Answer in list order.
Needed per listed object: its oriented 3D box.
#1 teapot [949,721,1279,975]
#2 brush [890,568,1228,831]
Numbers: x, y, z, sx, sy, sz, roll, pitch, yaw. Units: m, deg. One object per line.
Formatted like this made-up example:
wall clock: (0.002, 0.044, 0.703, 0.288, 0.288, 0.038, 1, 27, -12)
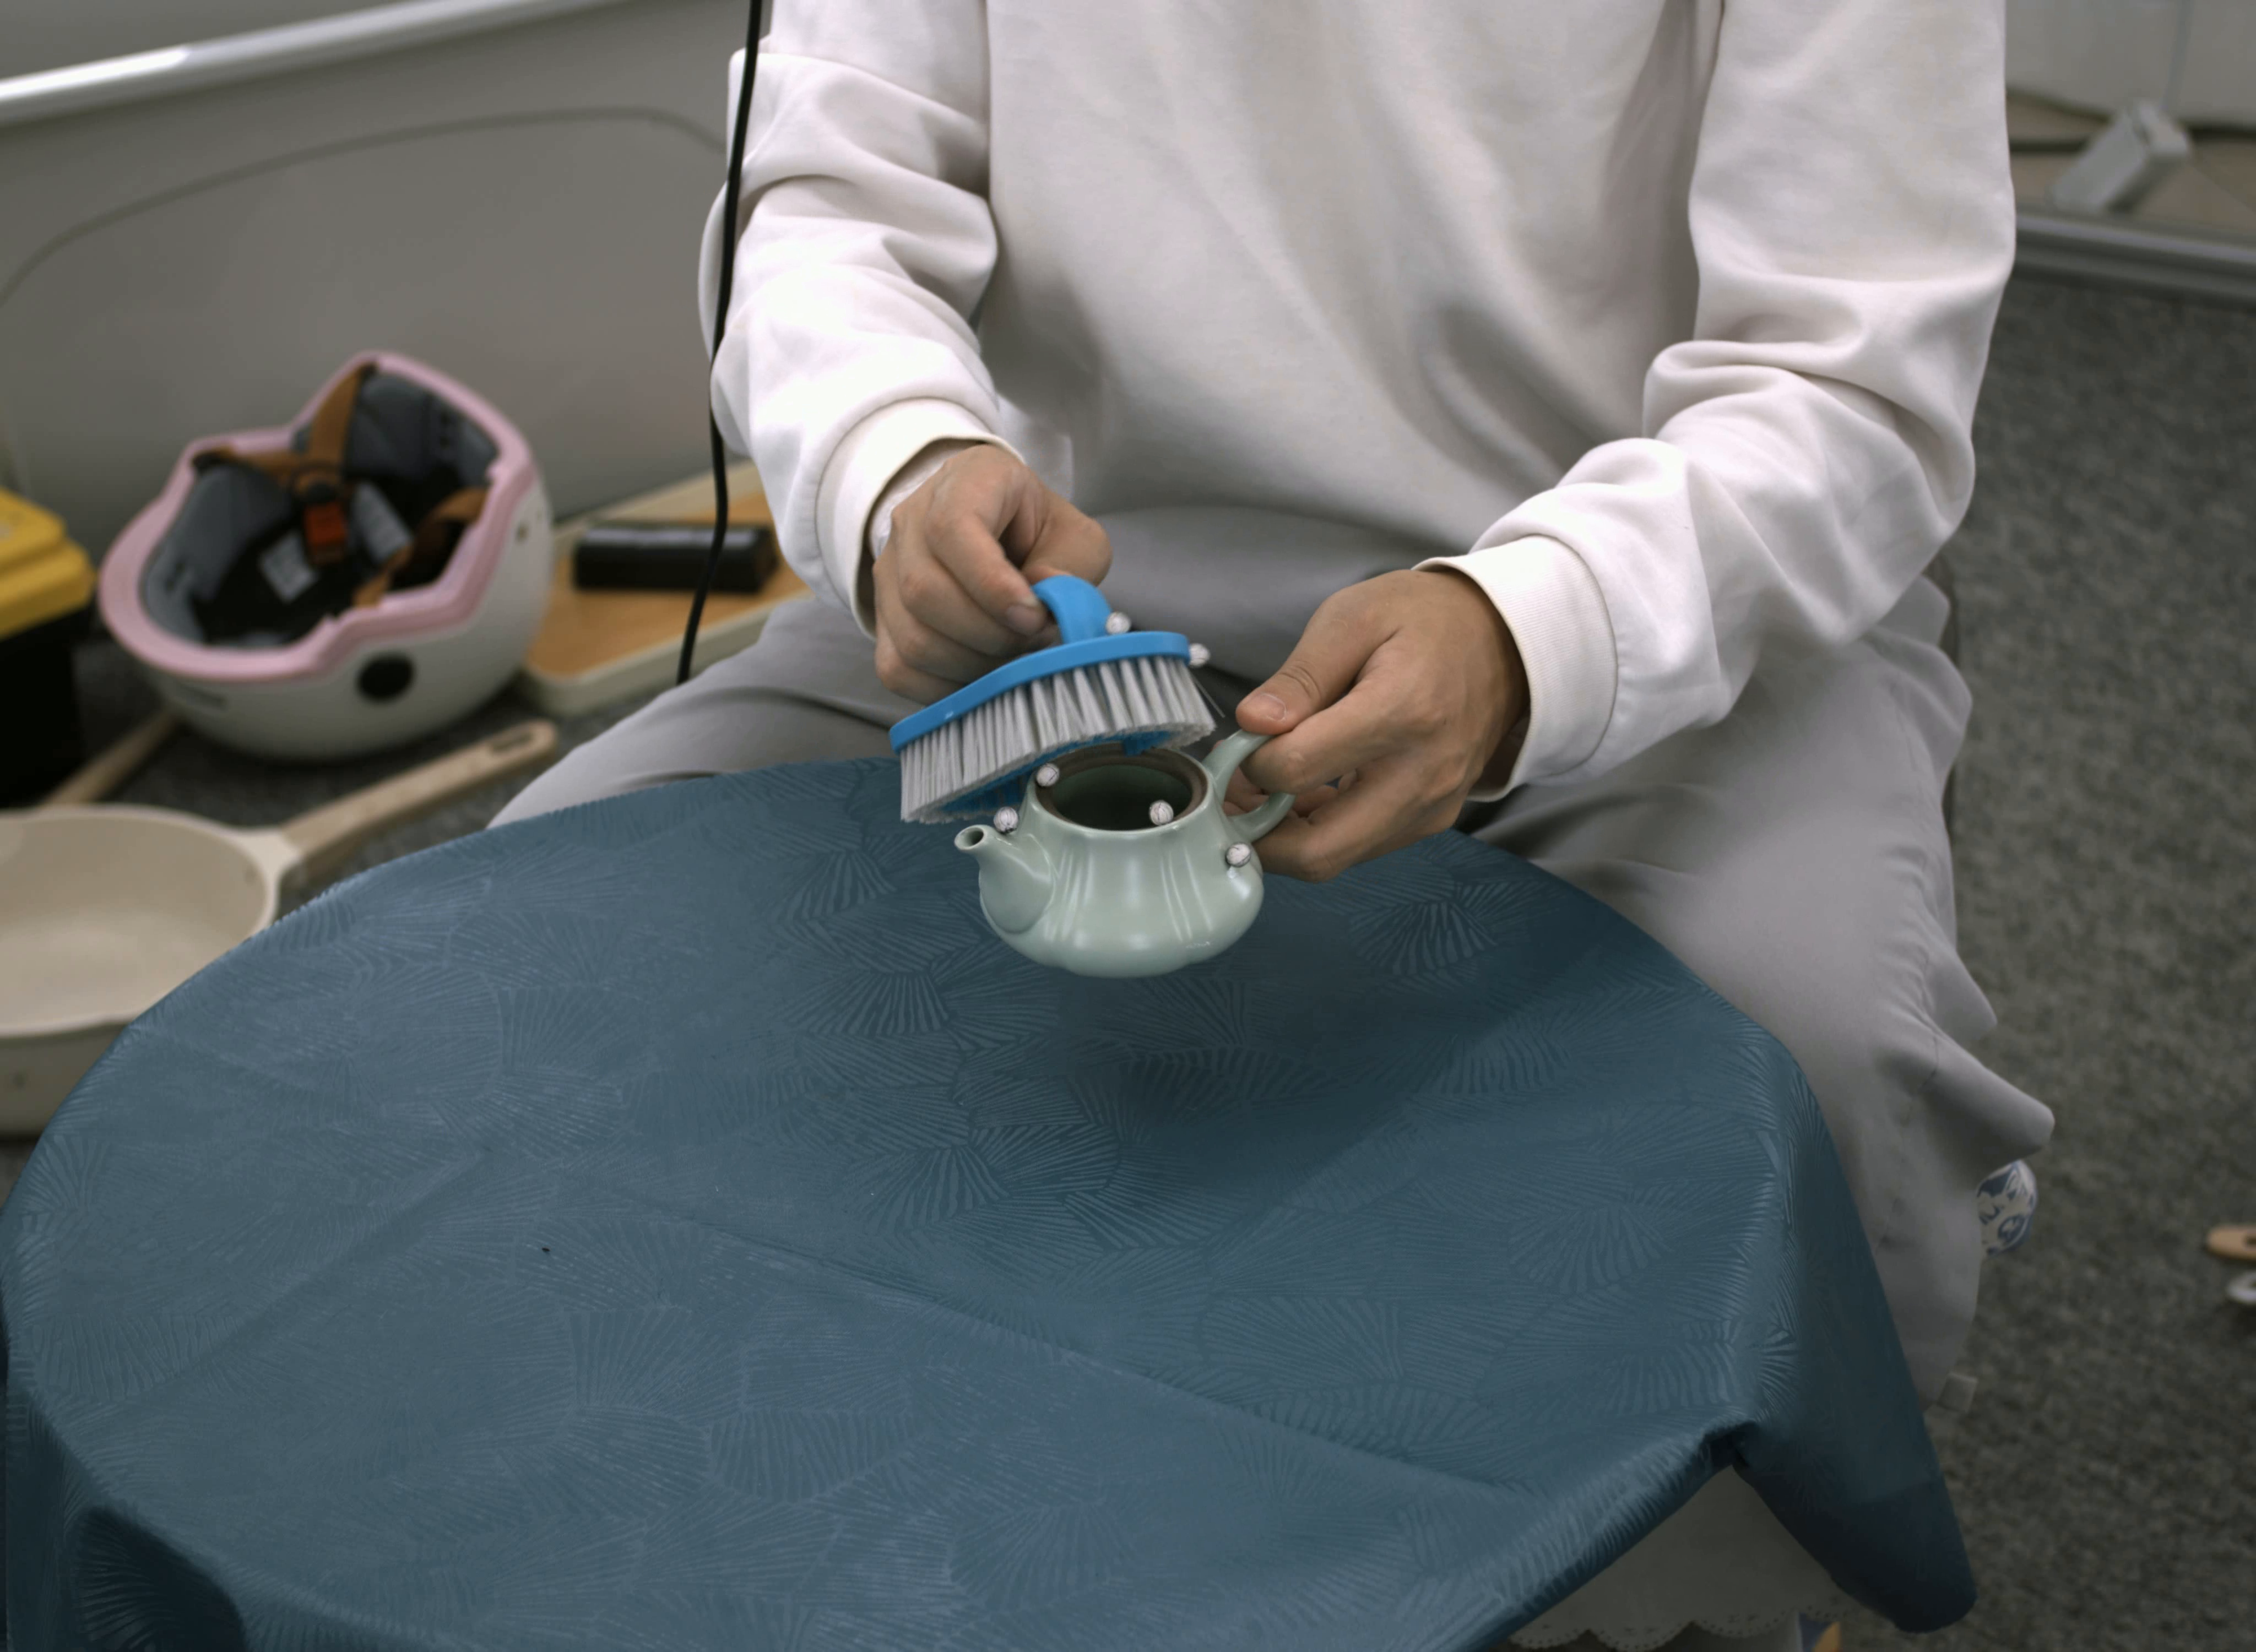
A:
teapot: (-0.003, 0.009, 1.889, 0.138, 0.061, 0.096, -20, 33, -32)
brush: (-0.030, -0.048, 1.908, 0.085, 0.064, 0.139, -14, -9, -34)
